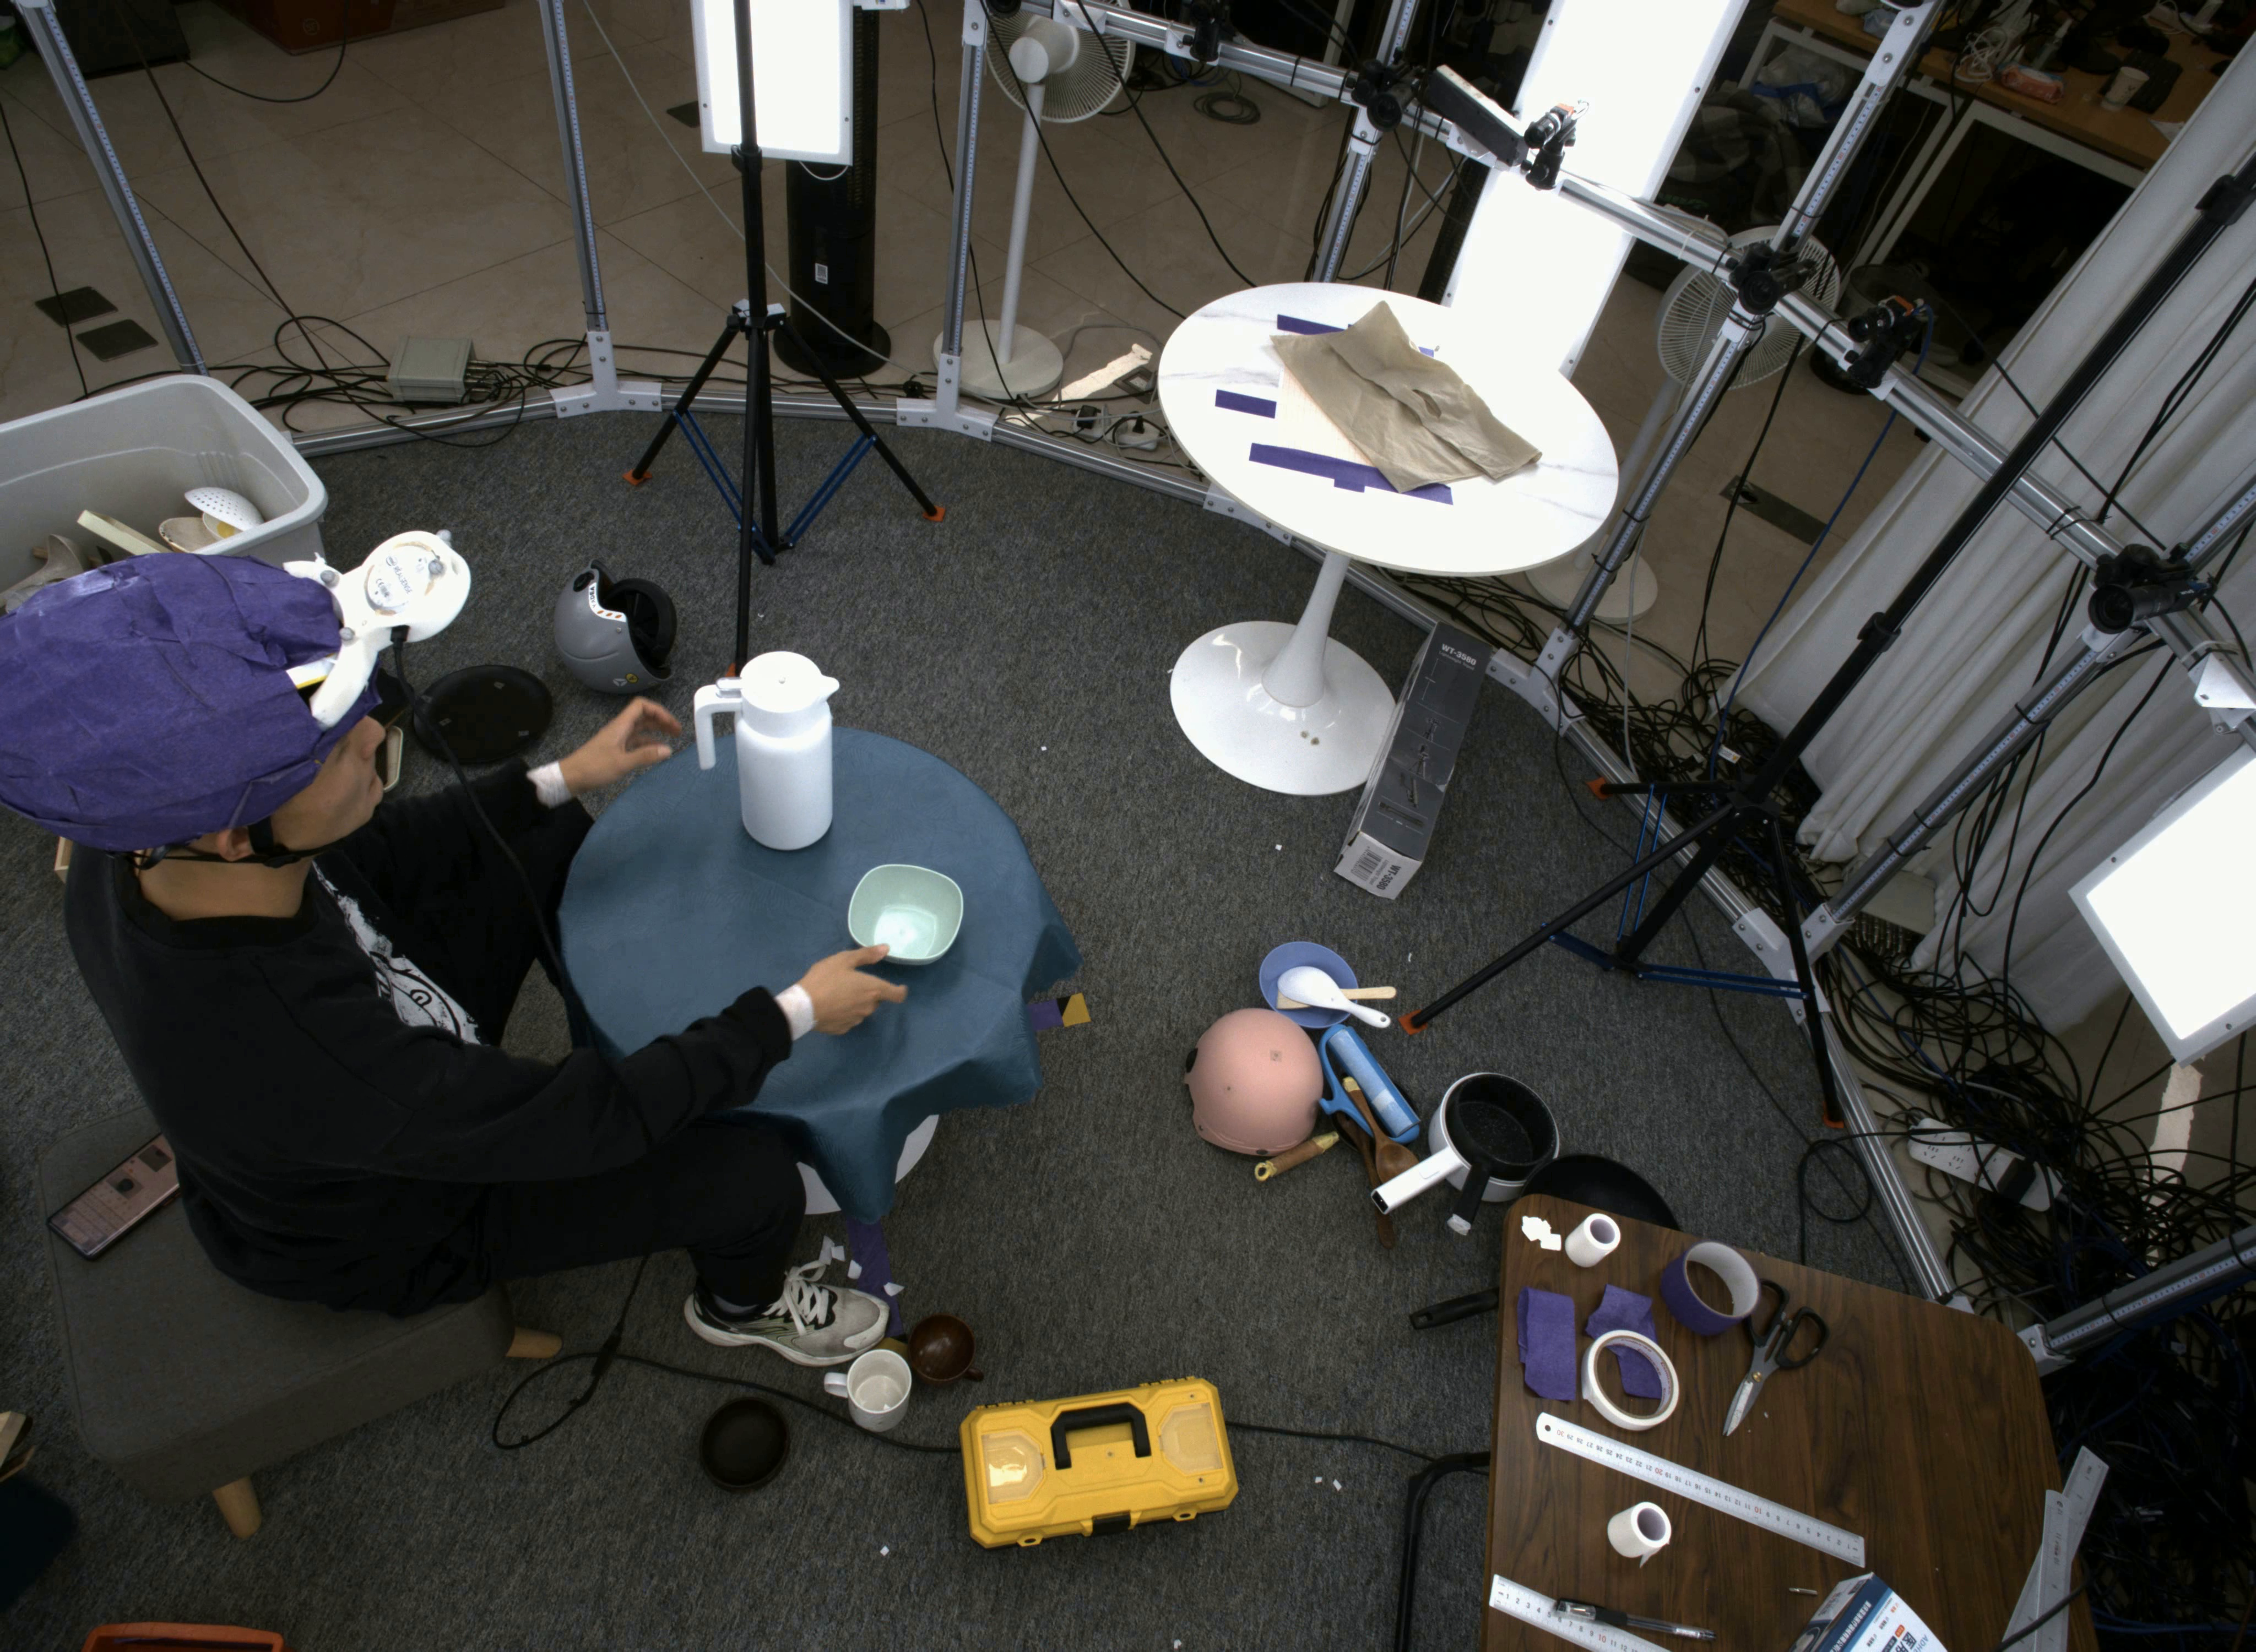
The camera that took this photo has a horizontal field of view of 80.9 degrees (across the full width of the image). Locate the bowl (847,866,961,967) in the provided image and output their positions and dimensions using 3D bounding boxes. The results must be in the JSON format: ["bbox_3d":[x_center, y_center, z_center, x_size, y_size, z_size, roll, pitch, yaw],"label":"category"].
[{"bbox_3d":[-0.281,0.122,1.633,0.151,0.060,0.149,8,52,-8],"label":"bowl"}]

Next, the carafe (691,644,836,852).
[{"bbox_3d":[-0.449,-0.092,1.611,0.173,0.274,0.121,-6,55,-17],"label":"carafe"}]
